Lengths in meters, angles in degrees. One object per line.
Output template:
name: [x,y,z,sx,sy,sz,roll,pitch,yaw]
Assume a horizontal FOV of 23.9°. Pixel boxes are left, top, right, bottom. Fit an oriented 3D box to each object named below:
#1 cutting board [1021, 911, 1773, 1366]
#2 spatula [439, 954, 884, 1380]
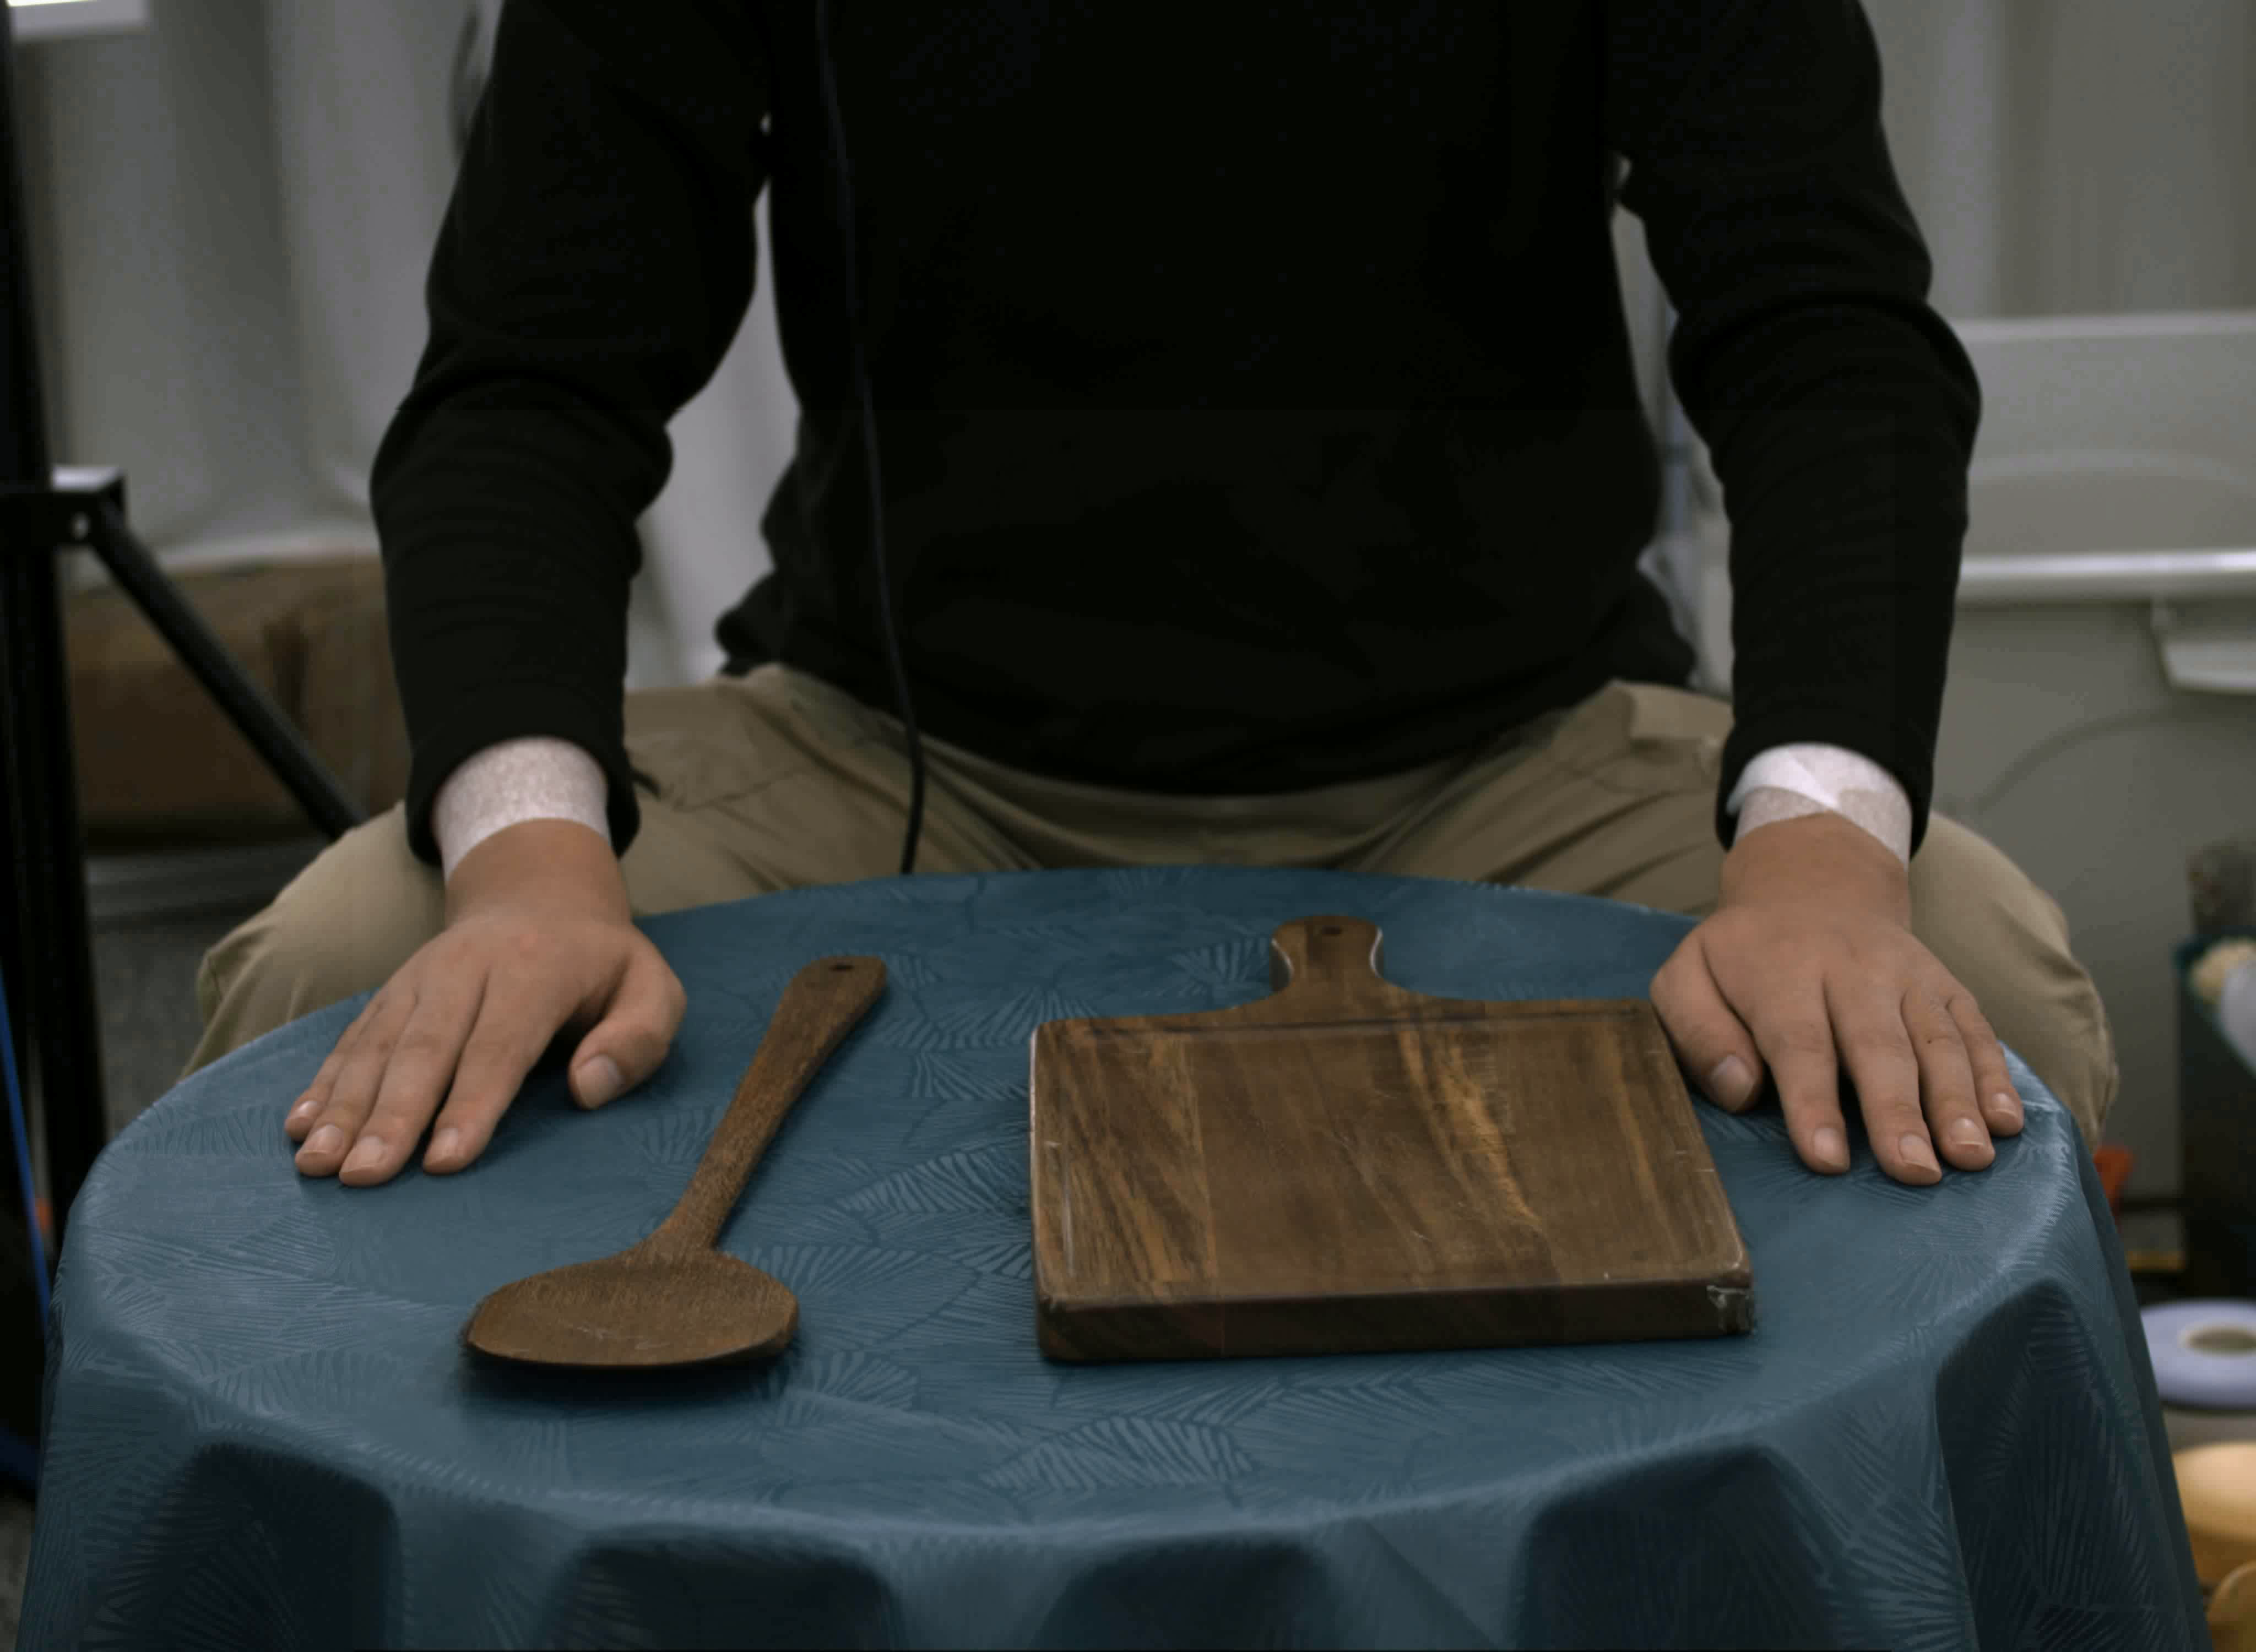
cutting board: [0.069,0.086,1.586,0.200,0.023,0.354,-2,16,-1]
spatula: [-0.117,0.095,1.595,0.096,0.016,0.385,0,16,8]
